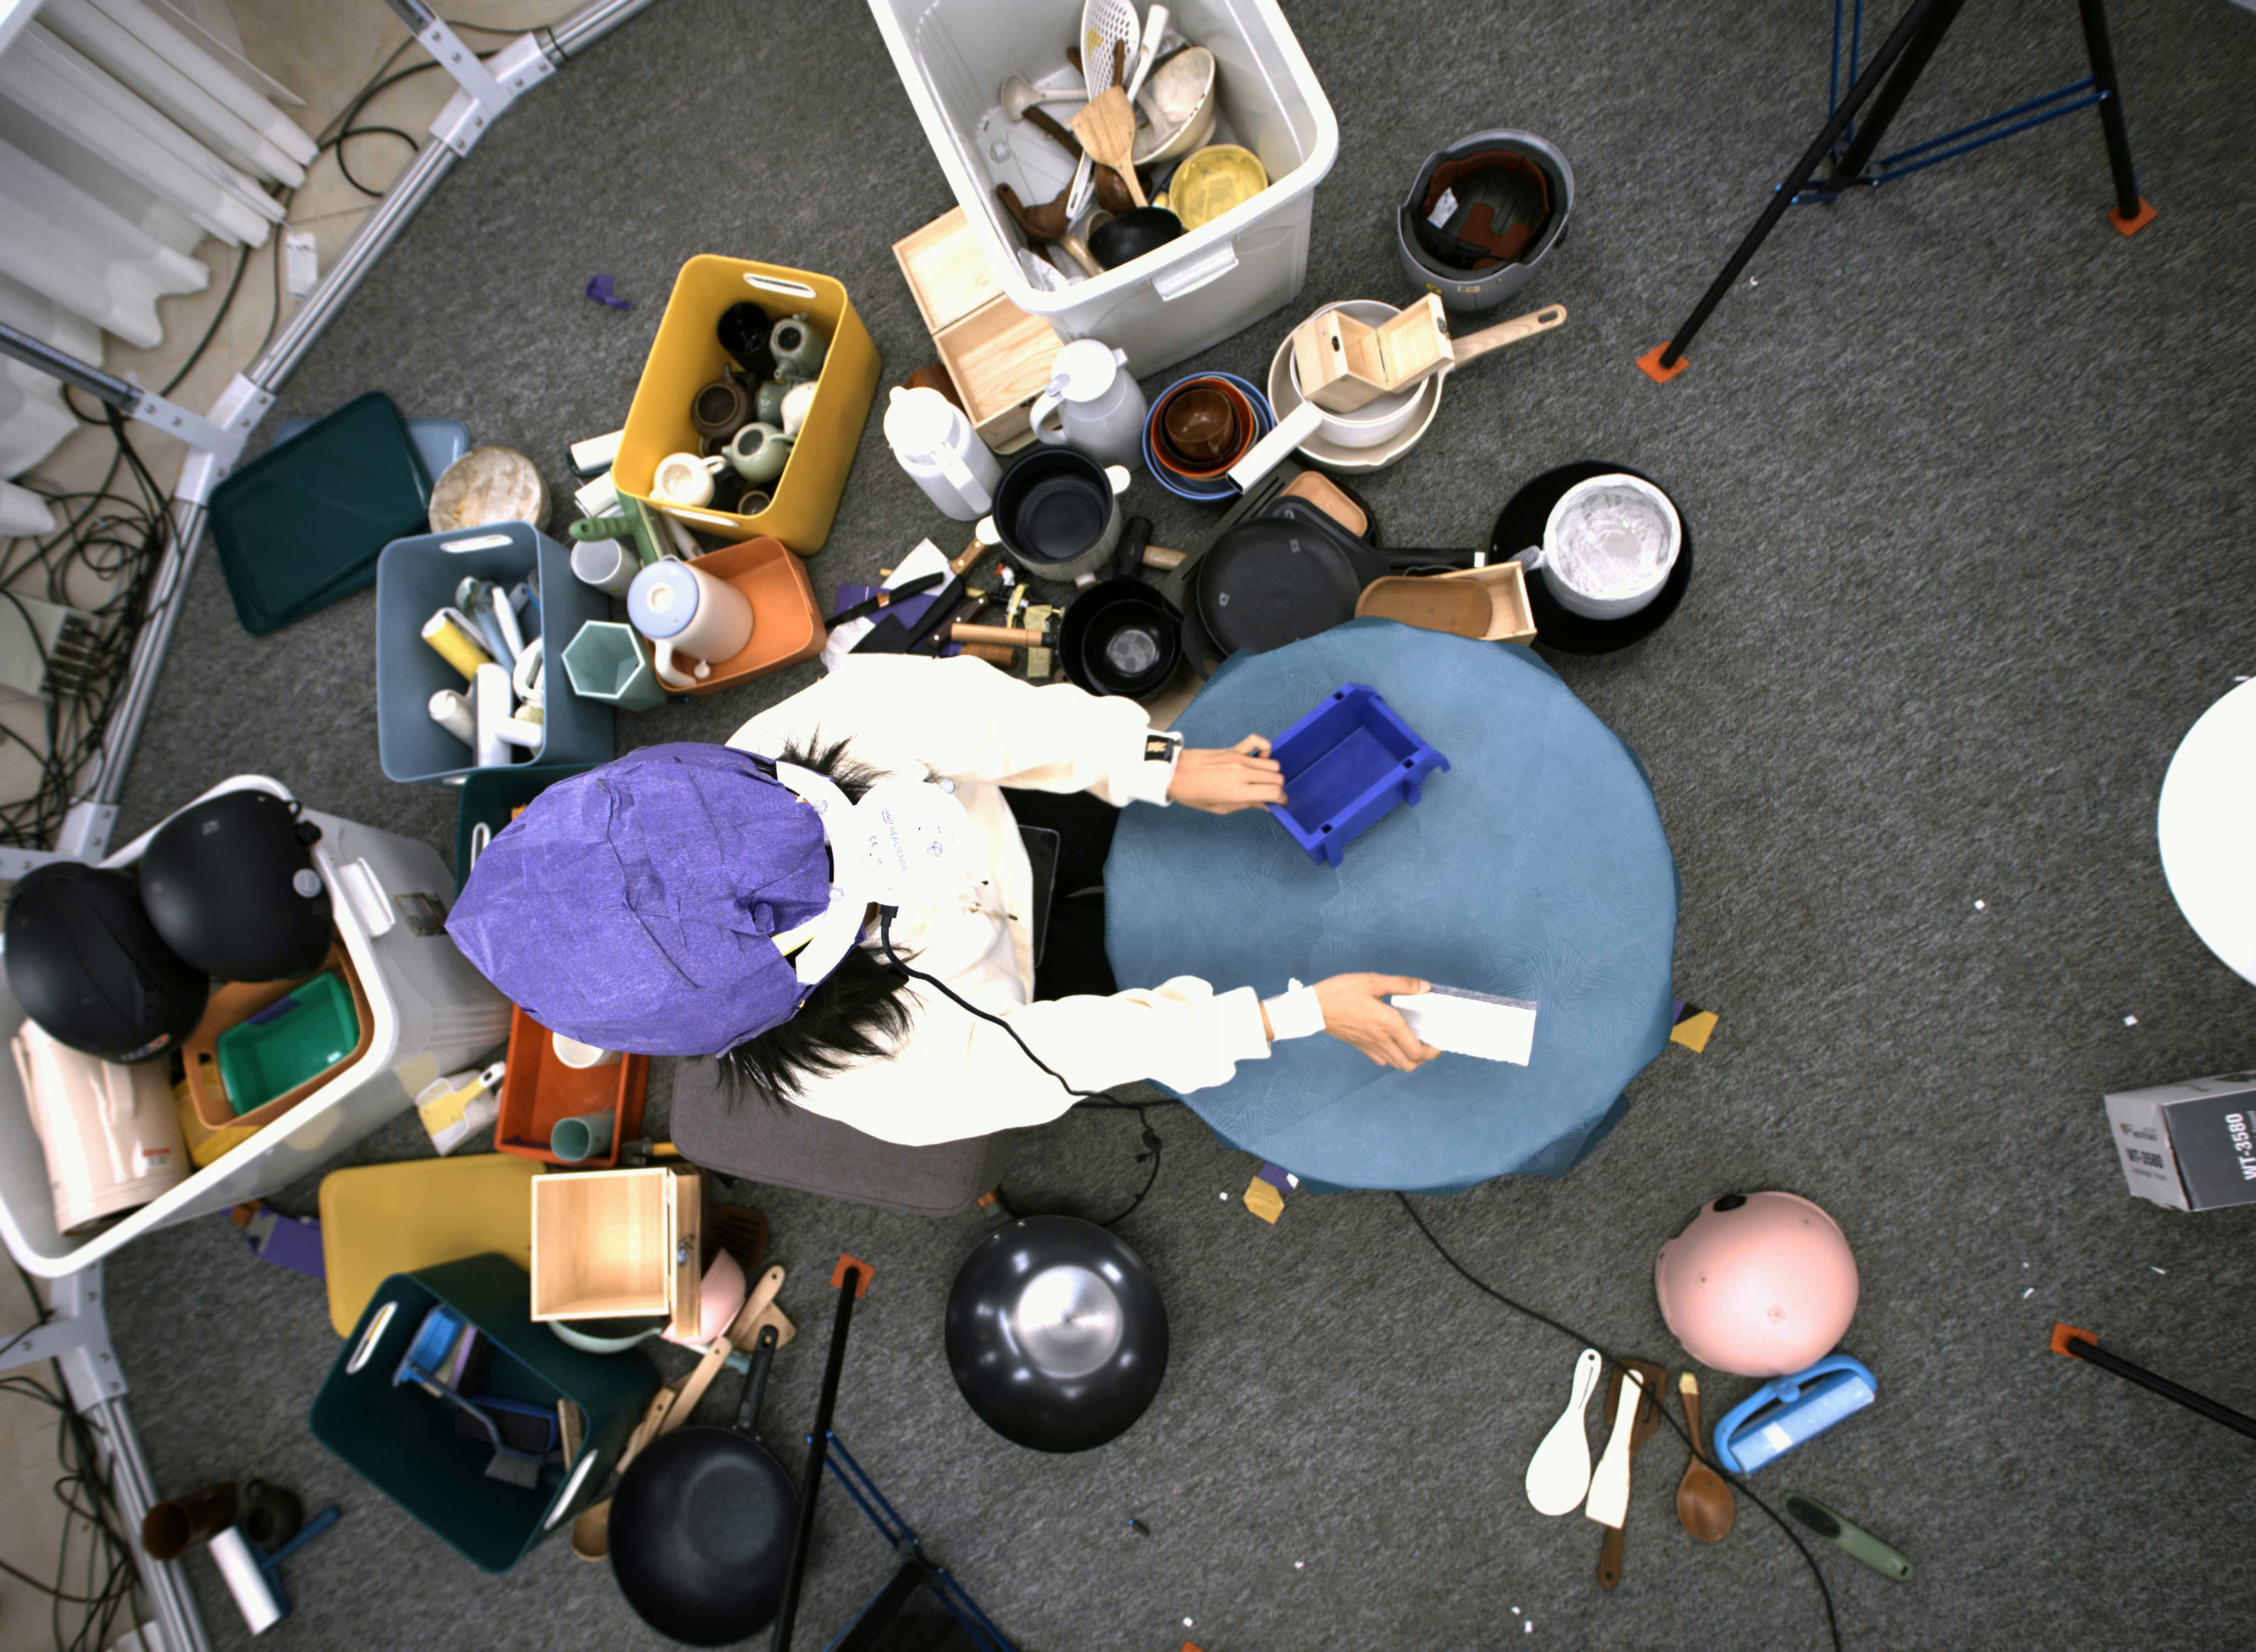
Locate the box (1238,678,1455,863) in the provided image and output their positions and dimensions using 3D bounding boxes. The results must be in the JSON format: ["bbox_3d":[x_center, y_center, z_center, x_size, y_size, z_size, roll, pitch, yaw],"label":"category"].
[{"bbox_3d":[0.222,-0.062,1.401,0.179,0.083,0.123,-38,61,-1],"label":"box"}]

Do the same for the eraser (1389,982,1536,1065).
[{"bbox_3d":[0.321,0.185,1.323,0.135,0.045,0.051,6,120,21],"label":"eraser"}]
